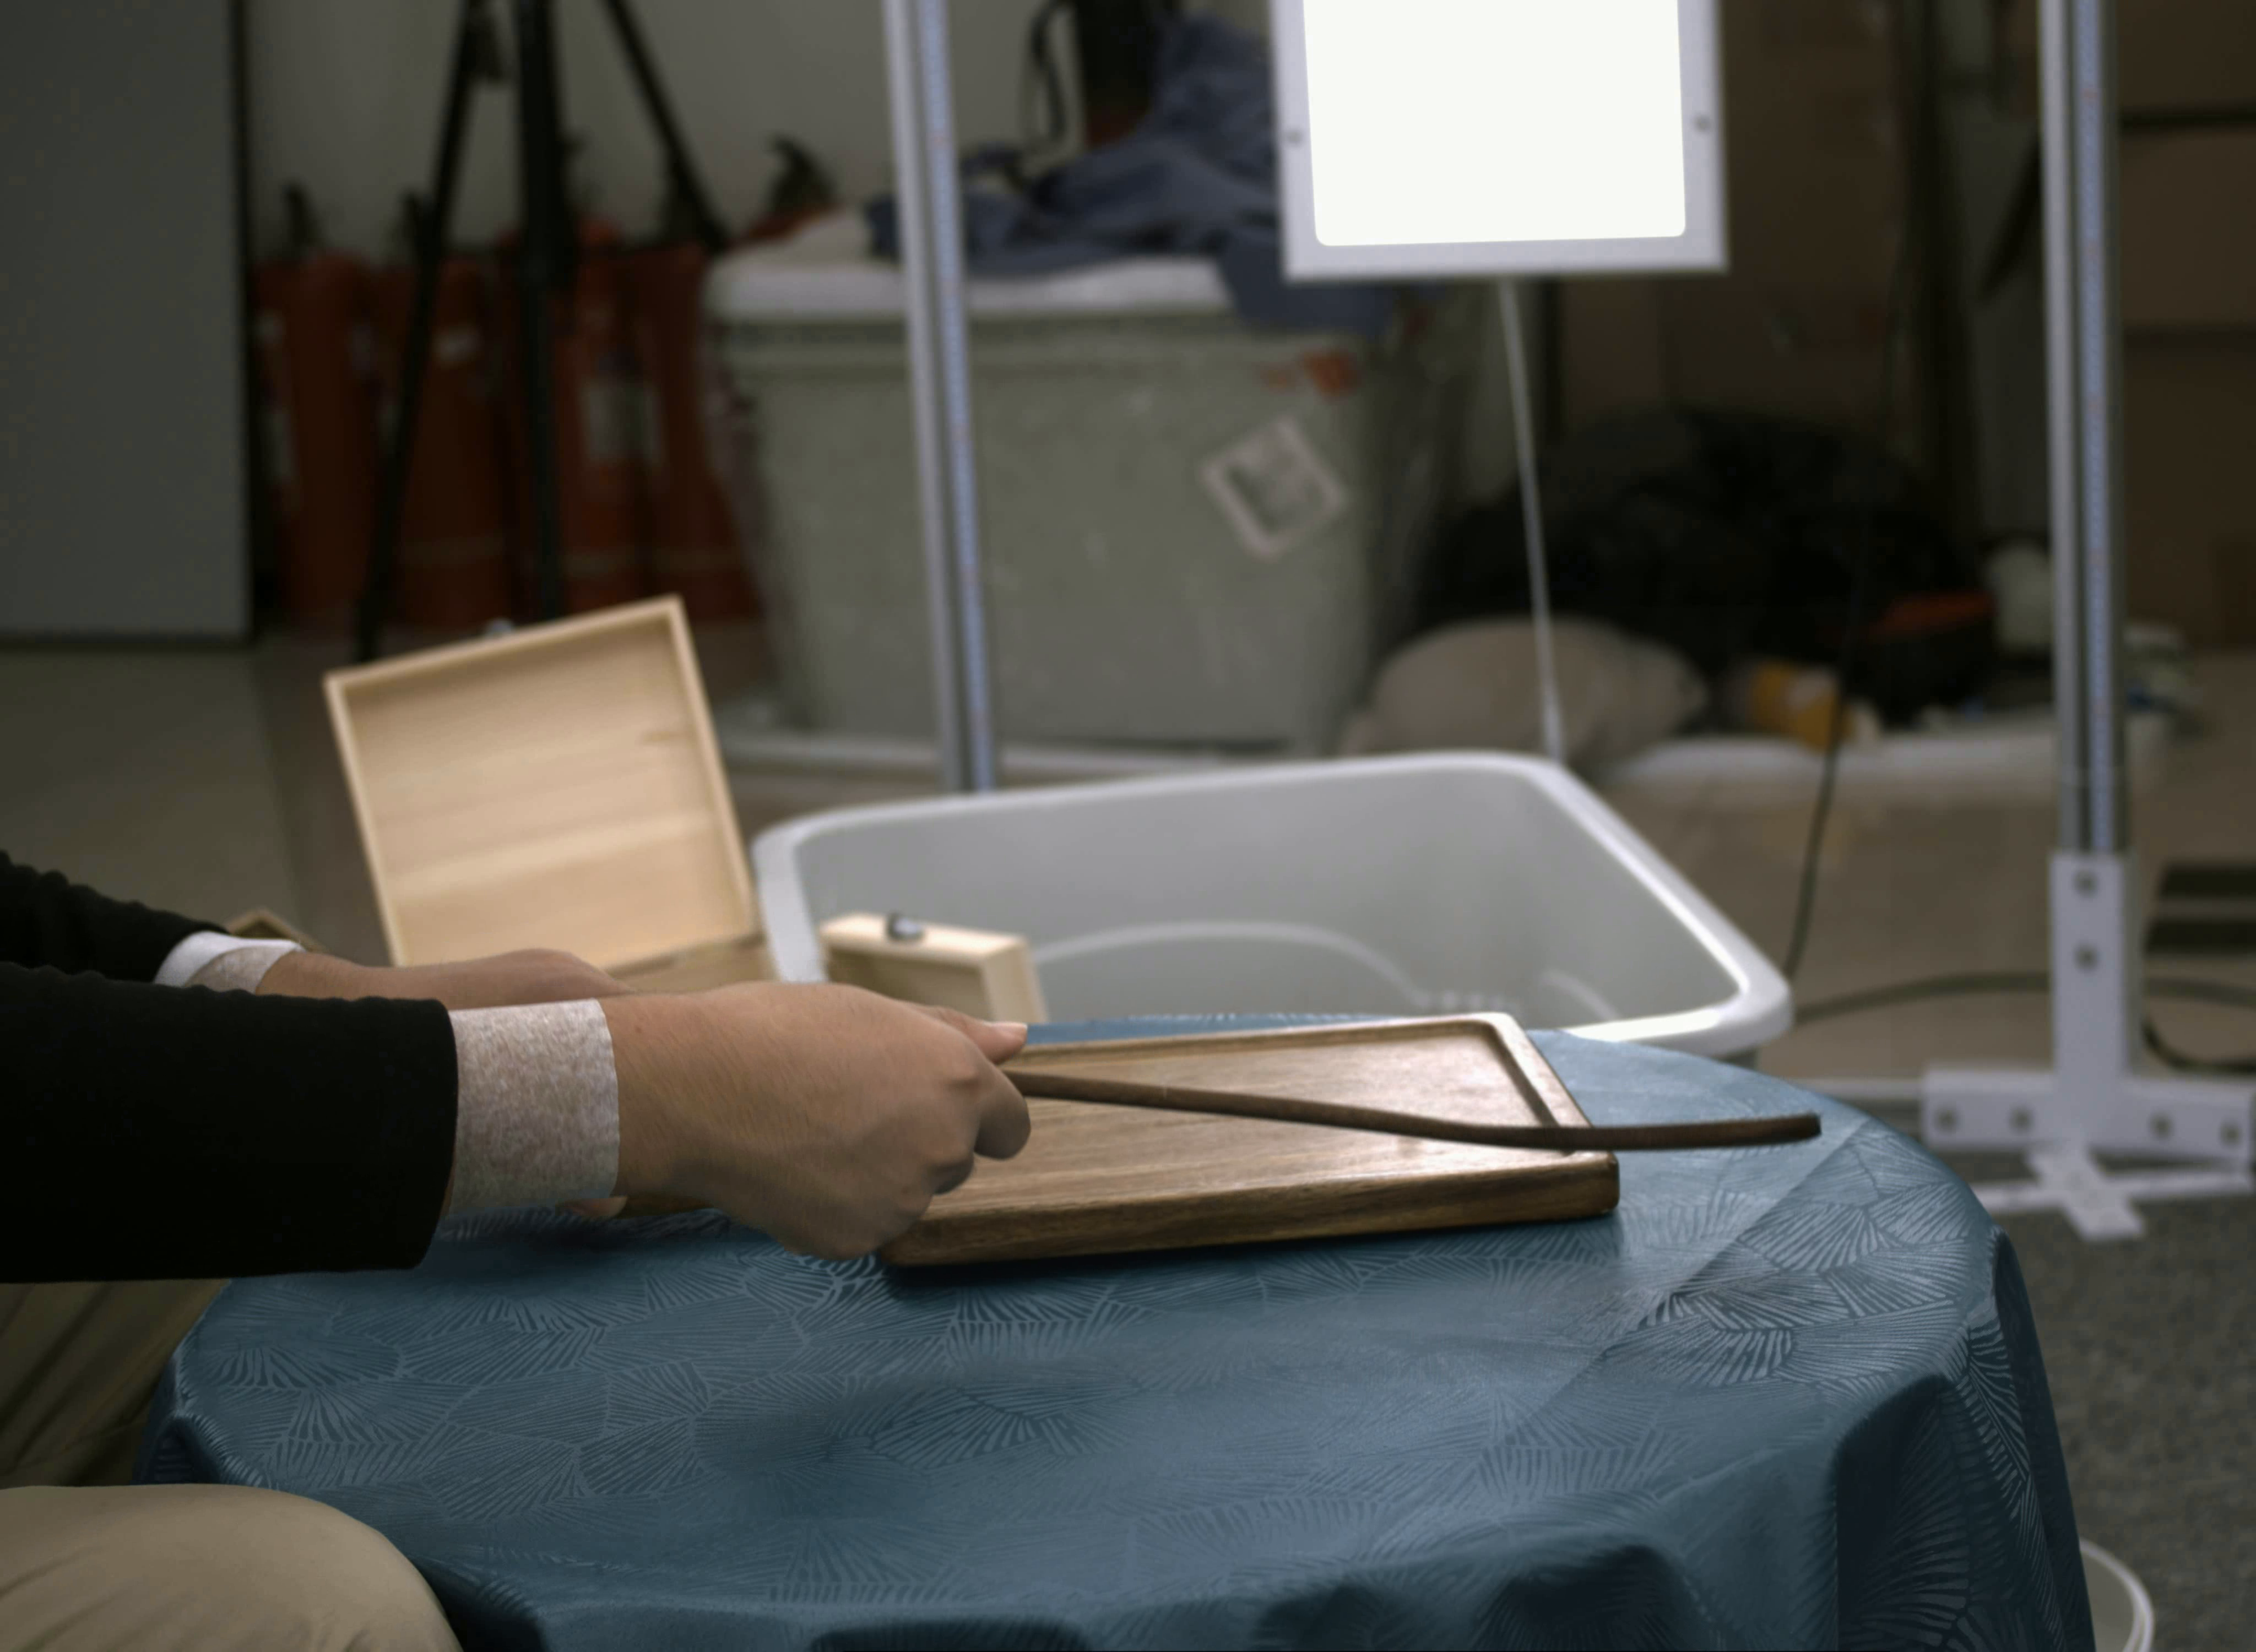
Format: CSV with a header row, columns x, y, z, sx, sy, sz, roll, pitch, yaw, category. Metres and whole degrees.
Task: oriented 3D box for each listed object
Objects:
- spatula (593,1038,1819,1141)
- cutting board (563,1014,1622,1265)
x,y,z,sx,sy,sz,roll,pitch,yaw,category
0.024,0.083,1.726,0.385,0.016,0.096,4,-5,2,spatula
-0.020,0.109,1.905,0.350,0.023,0.201,-4,13,-4,cutting board
